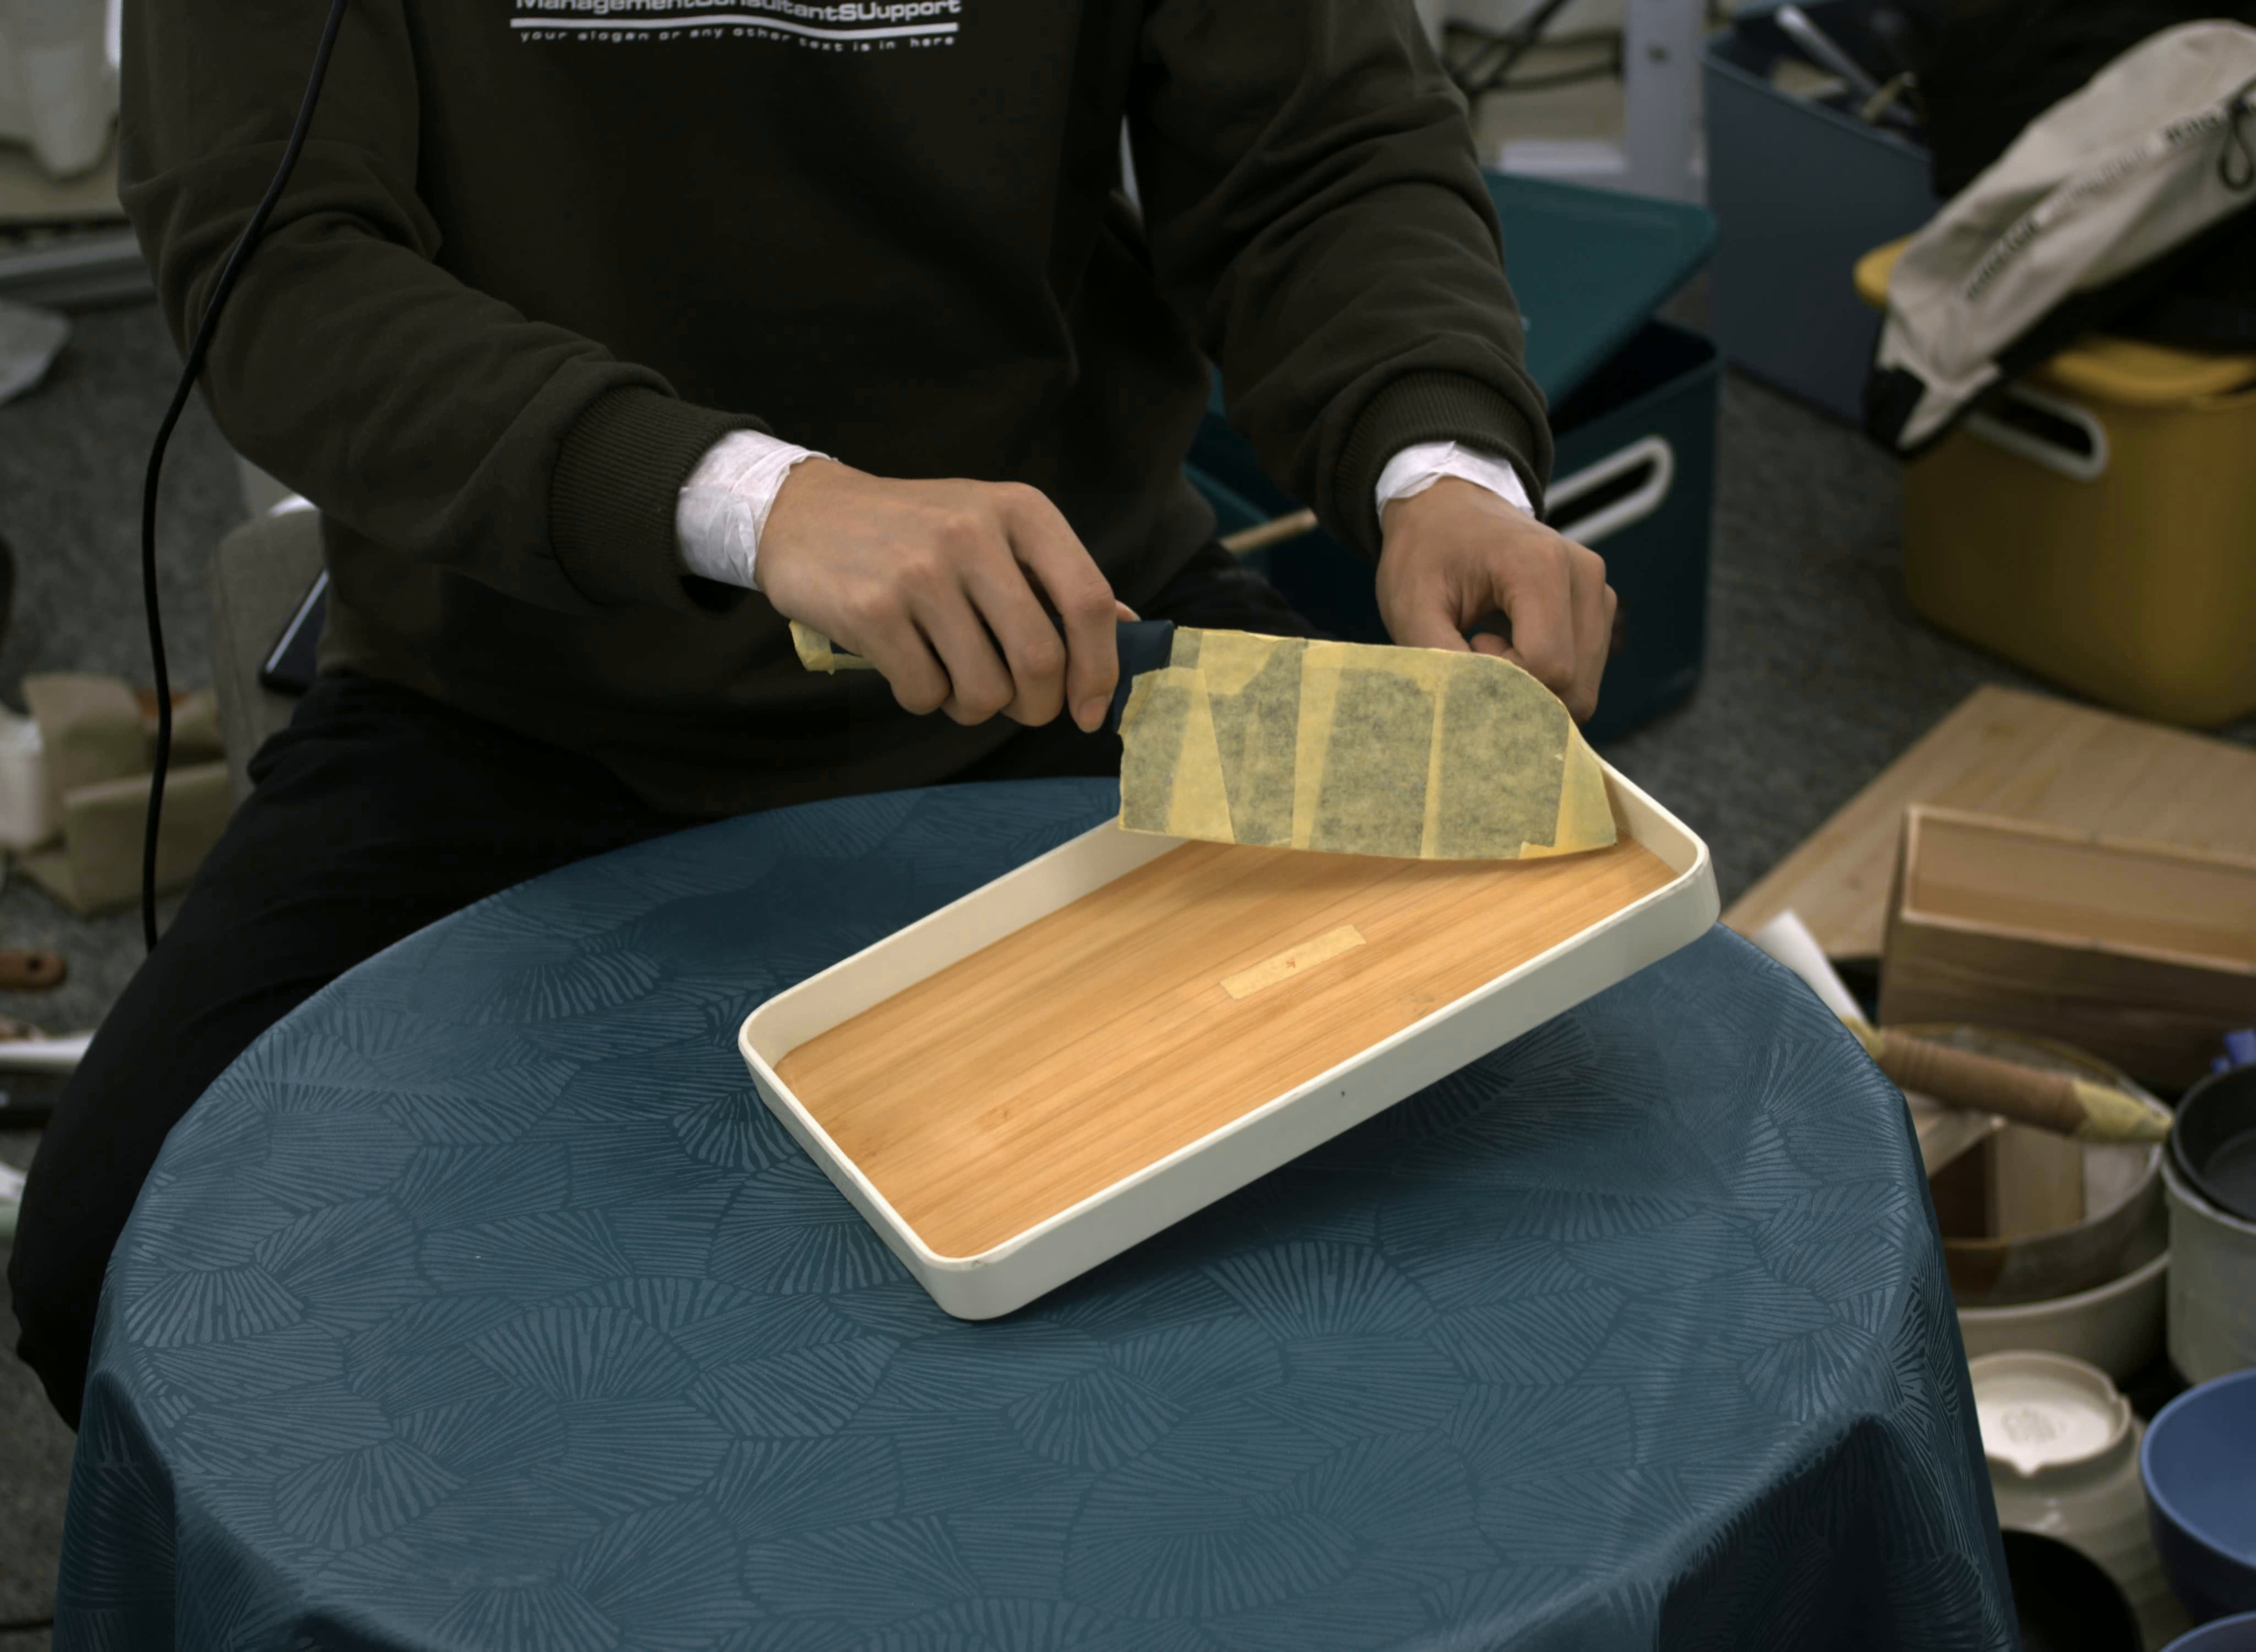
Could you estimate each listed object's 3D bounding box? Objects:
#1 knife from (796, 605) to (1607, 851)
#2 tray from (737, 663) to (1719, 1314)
[{"bbox_3d":[0.023,-0.035,1.932,0.288,0.081,0.027,8,-3,11],"label":"knife"},{"bbox_3d":[0.032,0.049,1.896,0.302,0.027,0.192,-27,32,-15],"label":"tray"}]
